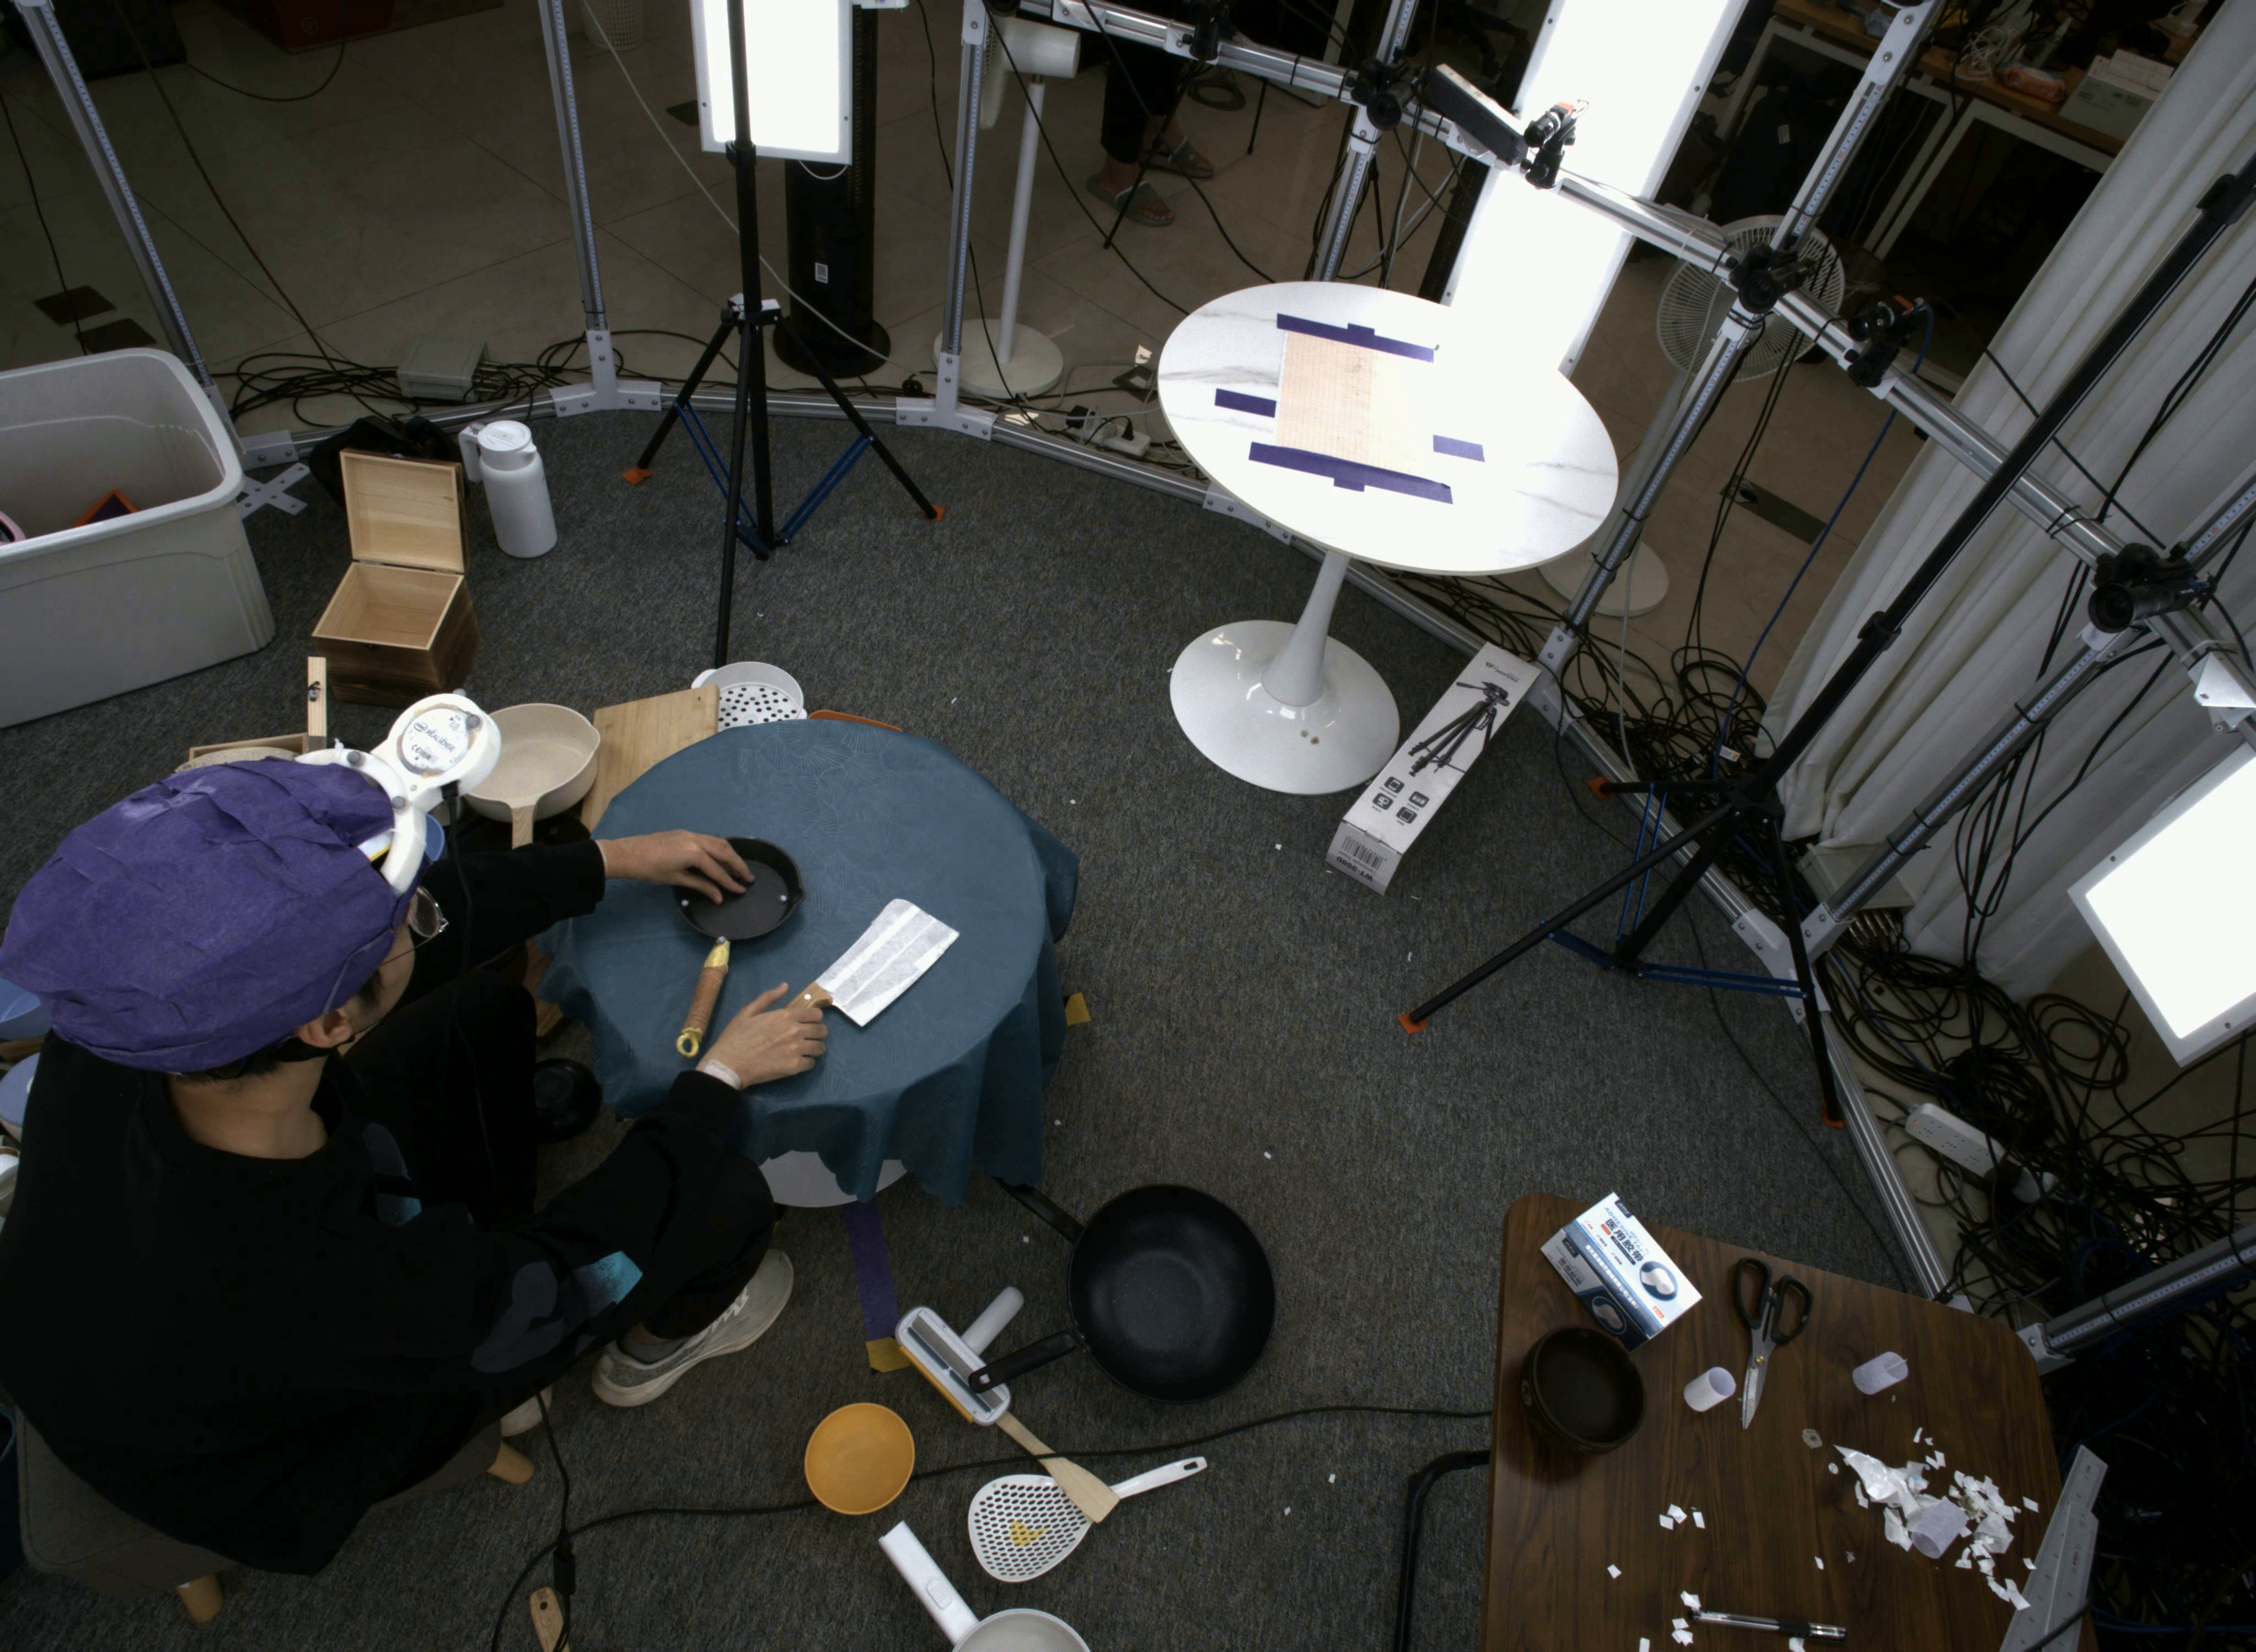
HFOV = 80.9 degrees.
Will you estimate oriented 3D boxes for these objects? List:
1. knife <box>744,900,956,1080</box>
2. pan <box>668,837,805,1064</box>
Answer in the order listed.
[{"bbox_3d":[-0.341,0.194,1.579,0.112,0.022,0.315,37,51,13],"label":"knife"},{"bbox_3d":[-0.491,0.145,1.554,0.168,0.050,0.318,10,51,-8],"label":"pan"}]
